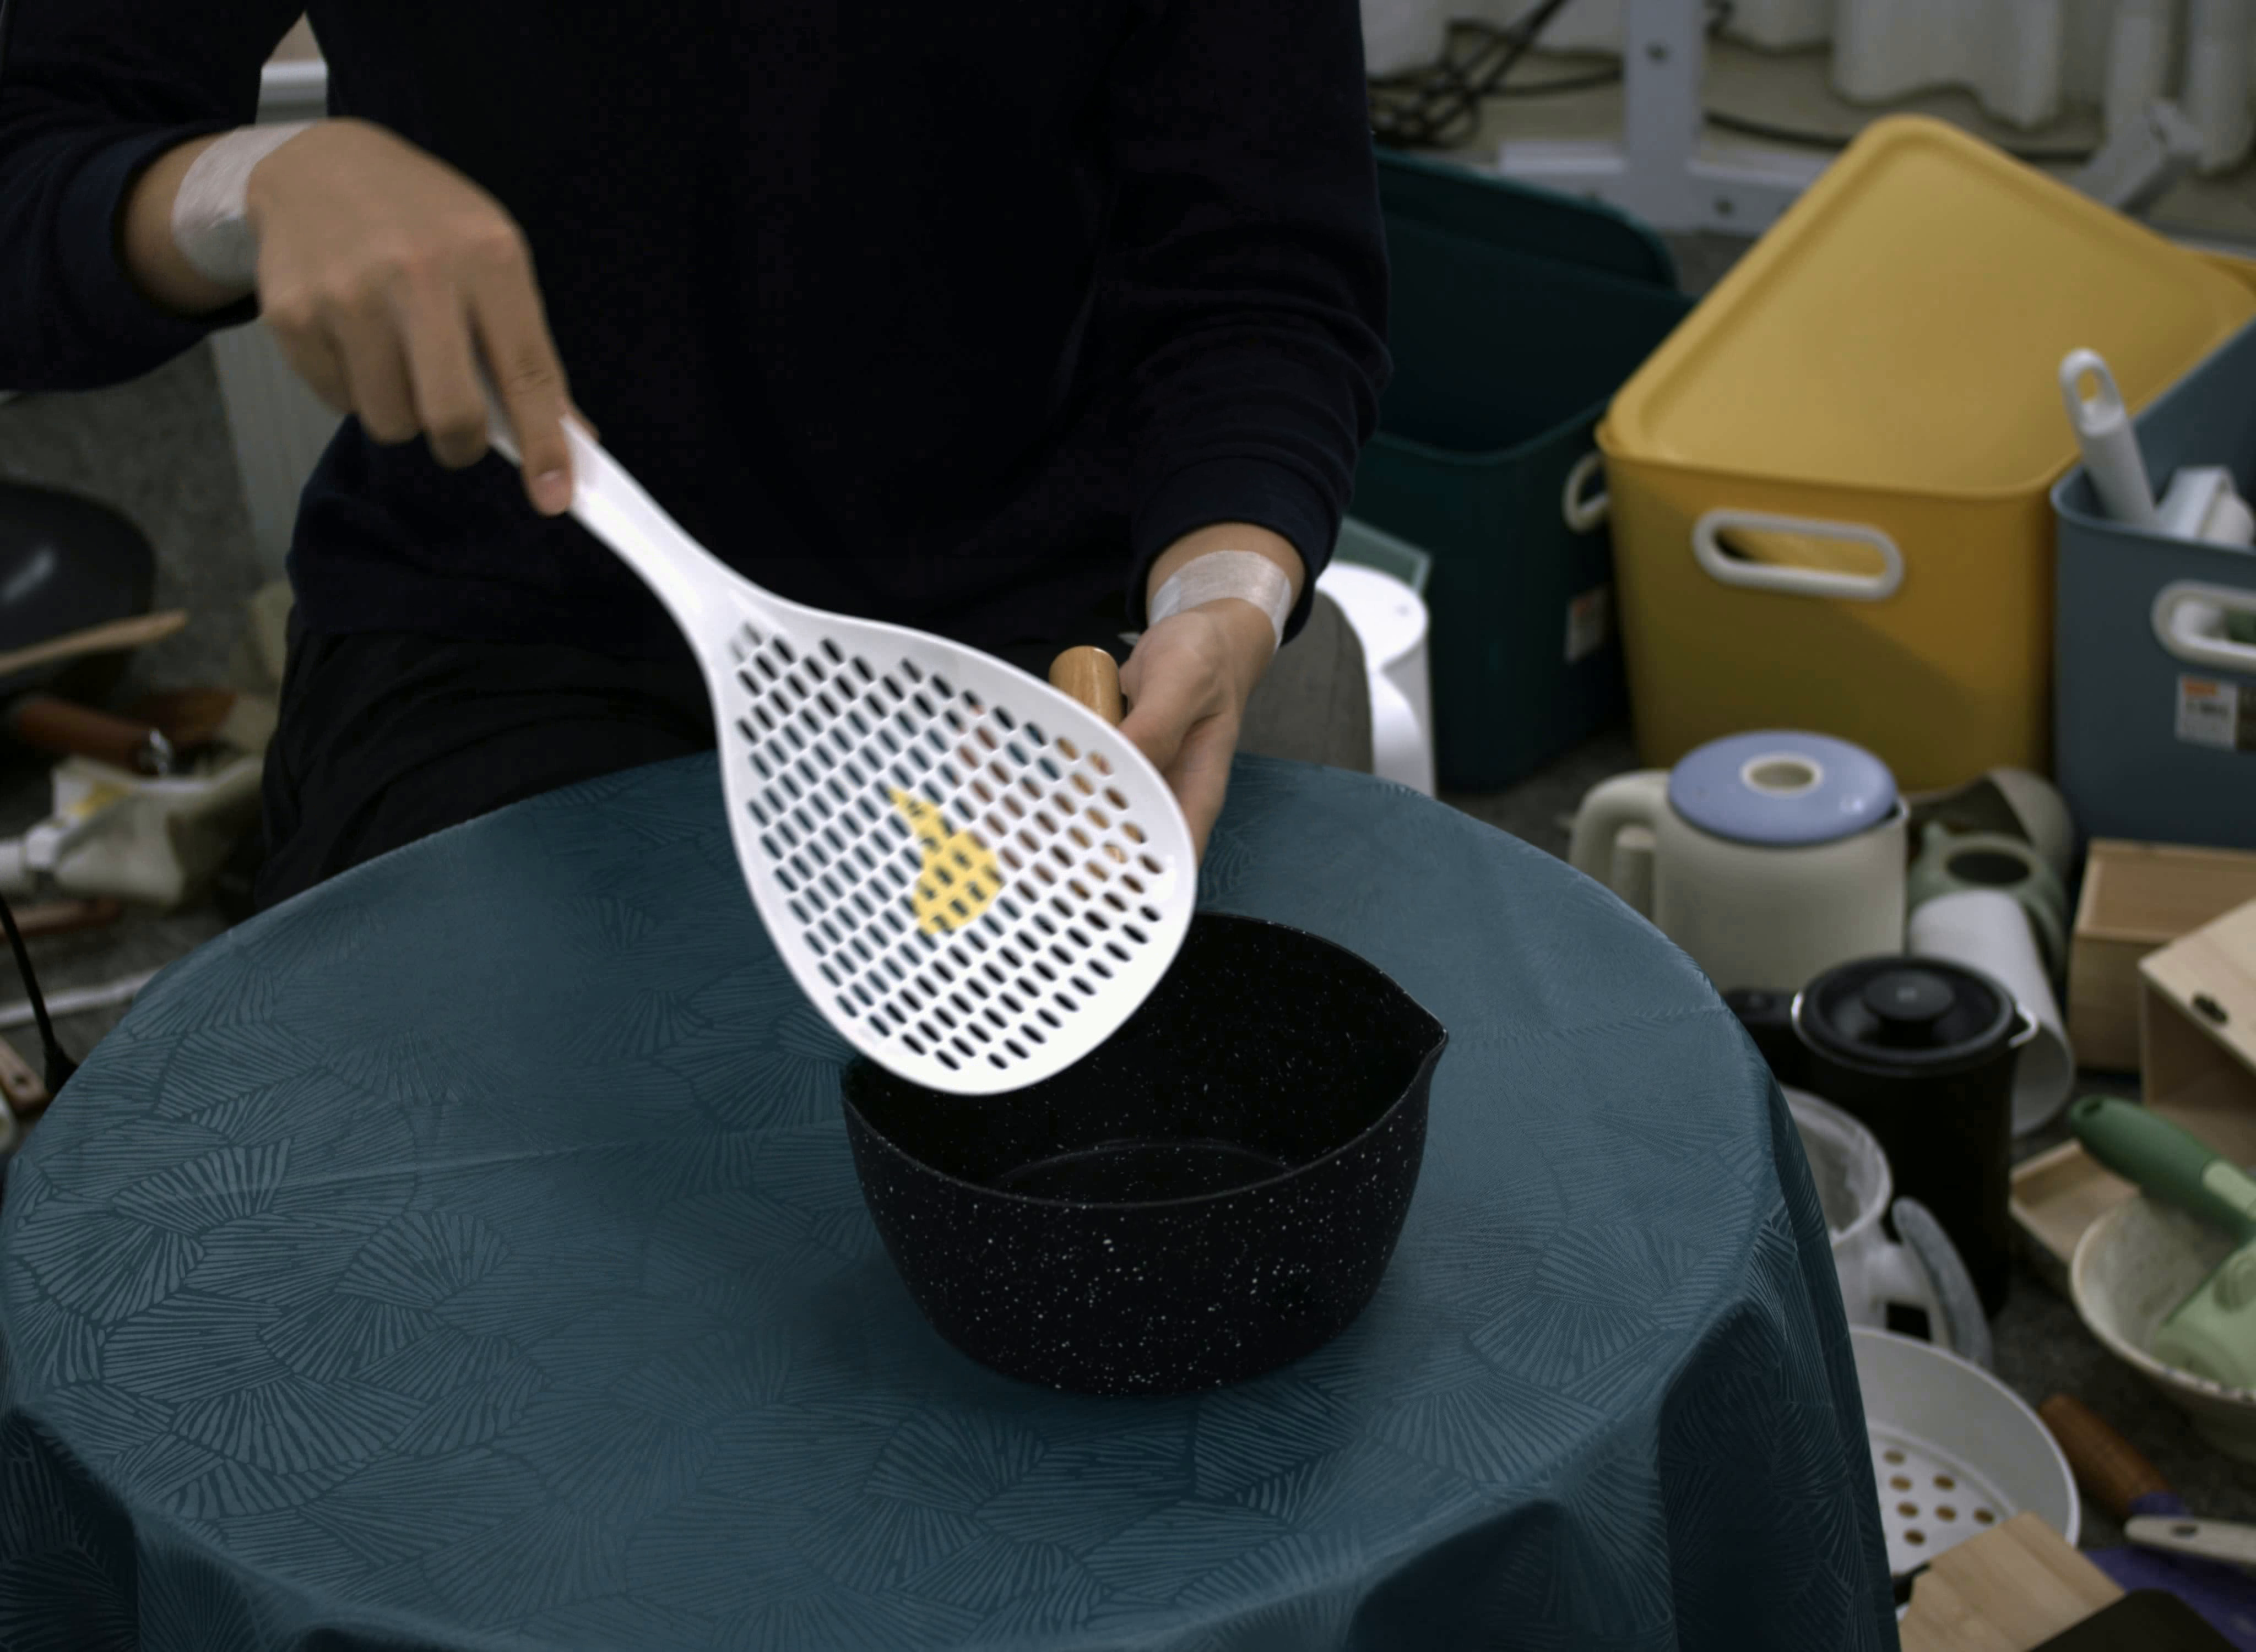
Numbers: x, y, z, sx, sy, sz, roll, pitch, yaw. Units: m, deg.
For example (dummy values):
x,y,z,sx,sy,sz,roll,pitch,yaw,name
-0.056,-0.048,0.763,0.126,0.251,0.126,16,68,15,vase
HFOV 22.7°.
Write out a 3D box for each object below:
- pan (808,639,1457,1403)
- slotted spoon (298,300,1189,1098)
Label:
x,y,z,sx,sy,sz,roll,pitch,yaw,name
-0.003,0.061,1.864,0.207,0.107,0.348,-6,29,-3,pan
-0.131,-0.055,1.805,0.138,0.348,0.050,-46,0,-17,slotted spoon
